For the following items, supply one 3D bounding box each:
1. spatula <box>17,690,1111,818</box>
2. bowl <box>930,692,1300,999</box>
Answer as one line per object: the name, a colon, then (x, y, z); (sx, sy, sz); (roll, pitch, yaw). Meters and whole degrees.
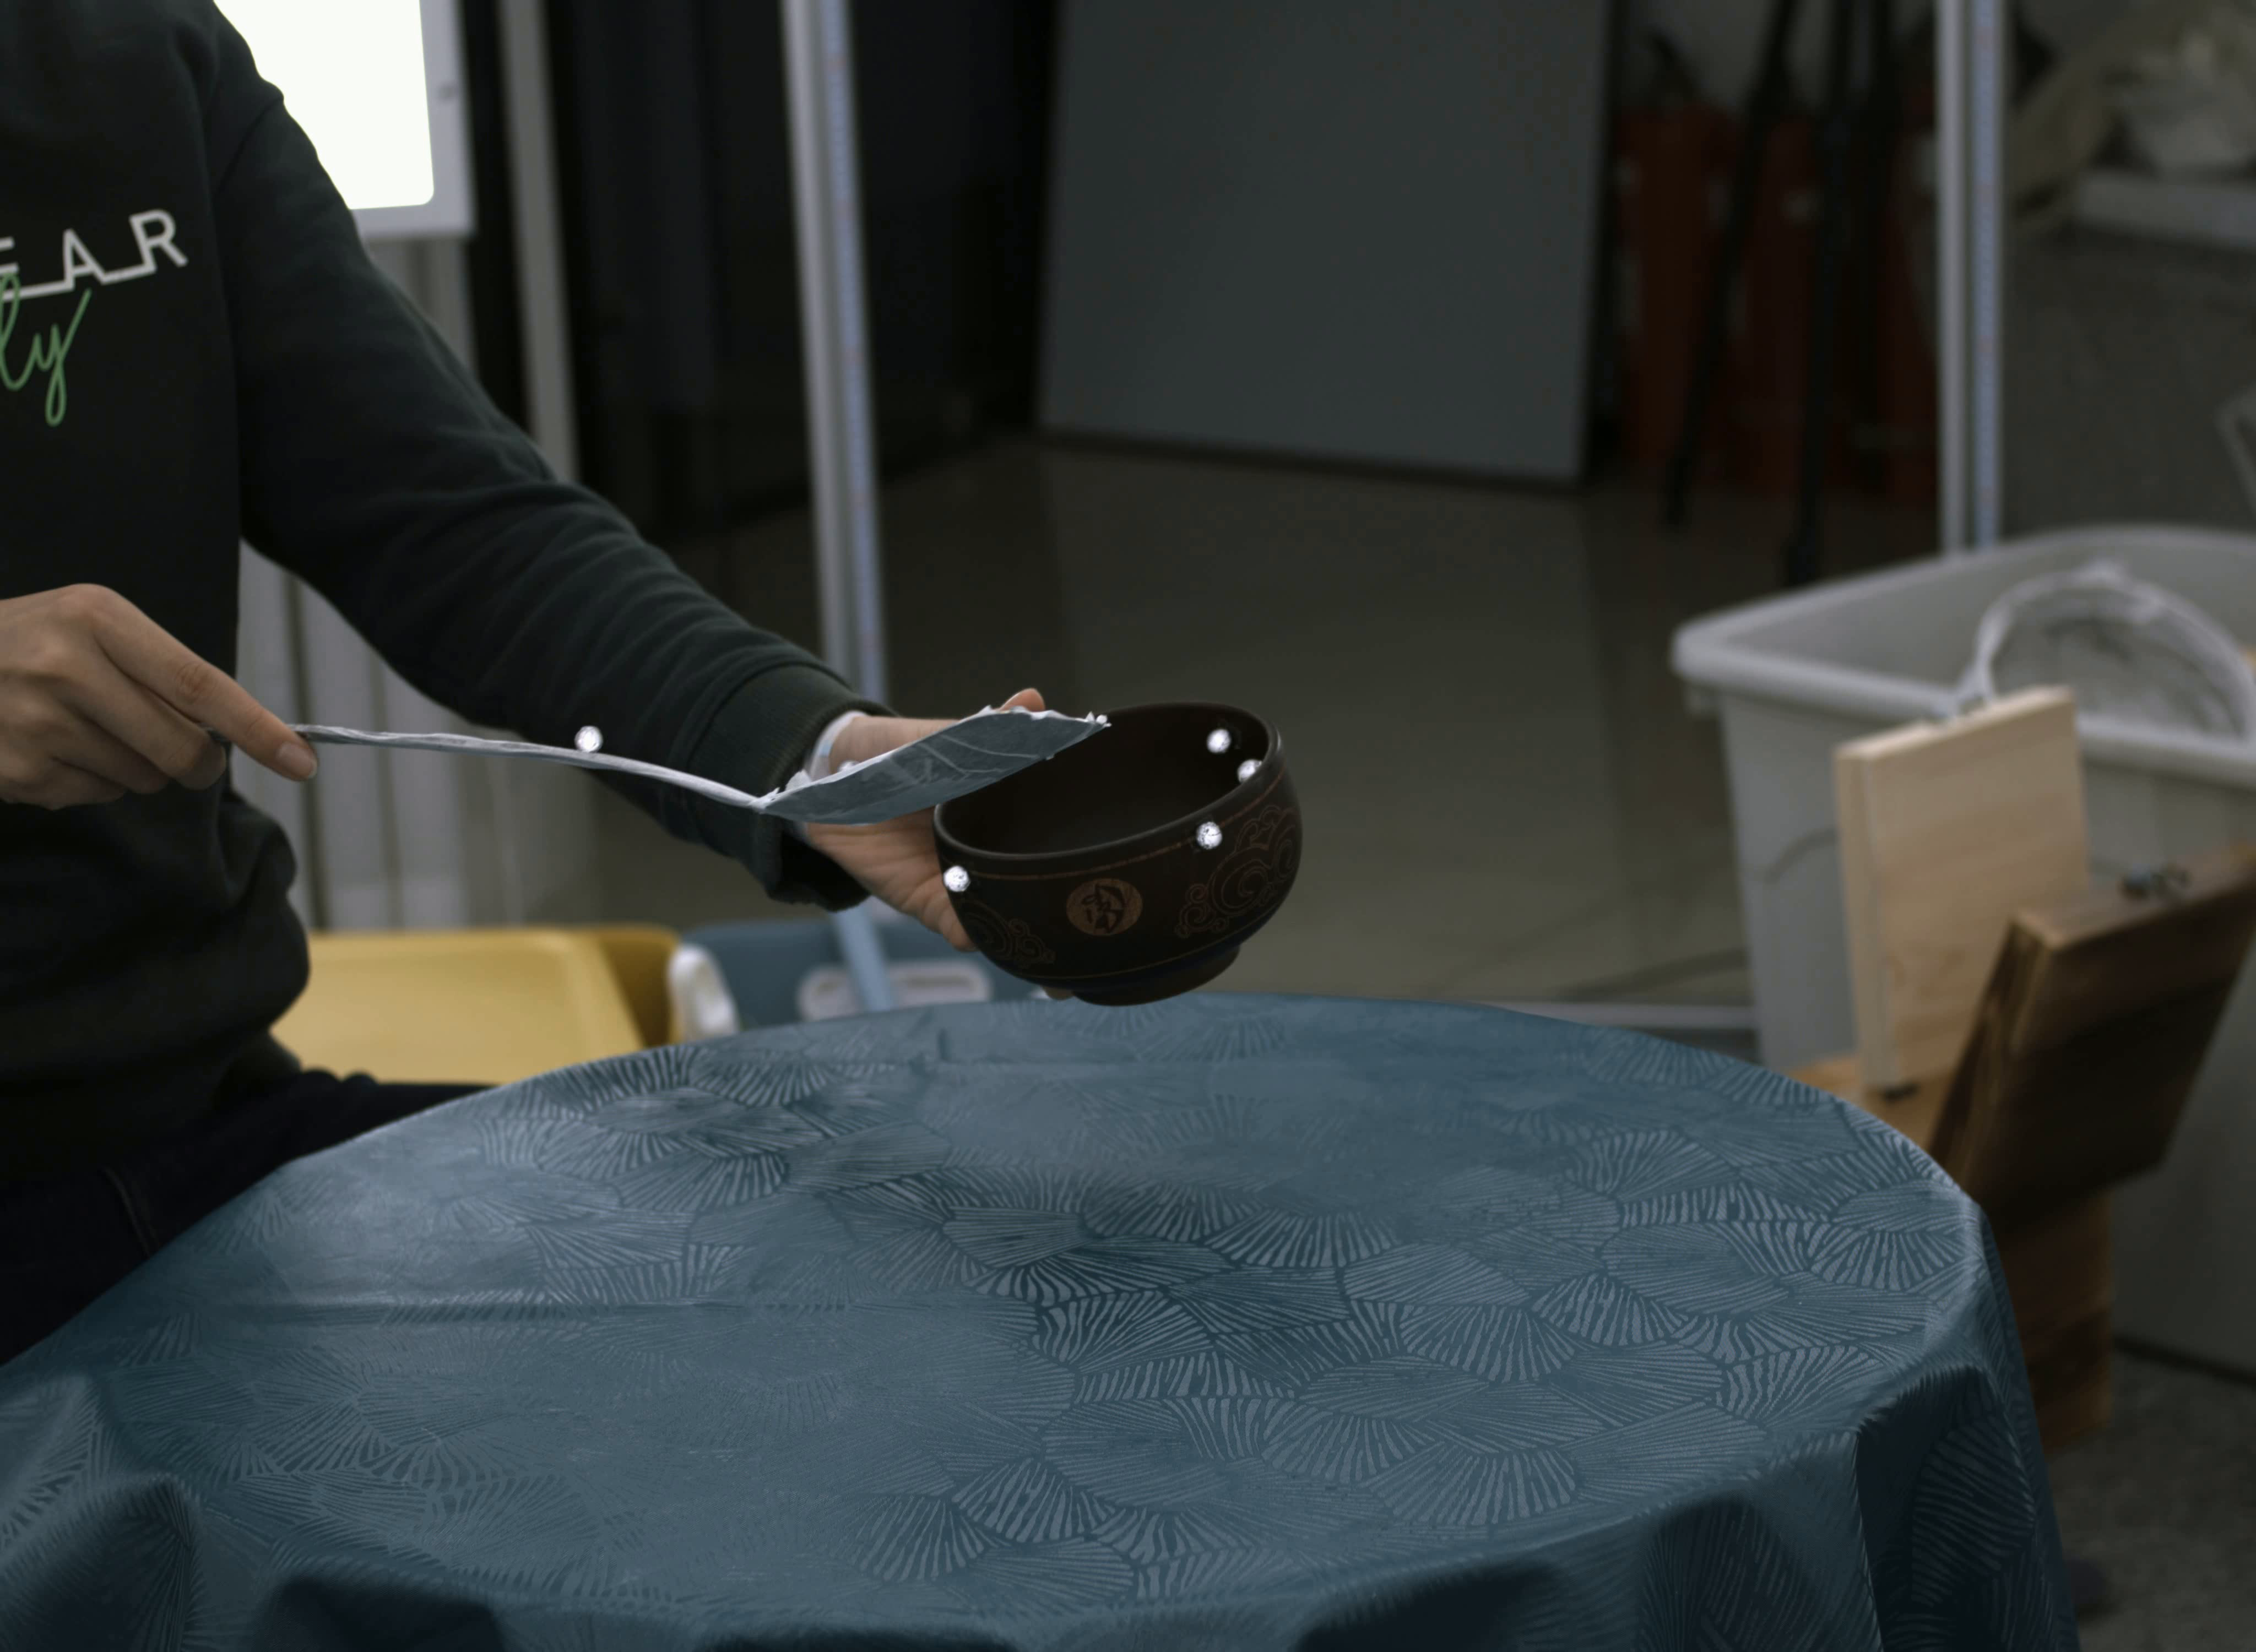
spatula: (-0.182, -0.028, 1.637); (0.364, 0.045, 0.097); (4, 1, 21)
bowl: (0.000, 0.012, 1.717); (0.117, 0.070, 0.118); (-14, 20, 4)
